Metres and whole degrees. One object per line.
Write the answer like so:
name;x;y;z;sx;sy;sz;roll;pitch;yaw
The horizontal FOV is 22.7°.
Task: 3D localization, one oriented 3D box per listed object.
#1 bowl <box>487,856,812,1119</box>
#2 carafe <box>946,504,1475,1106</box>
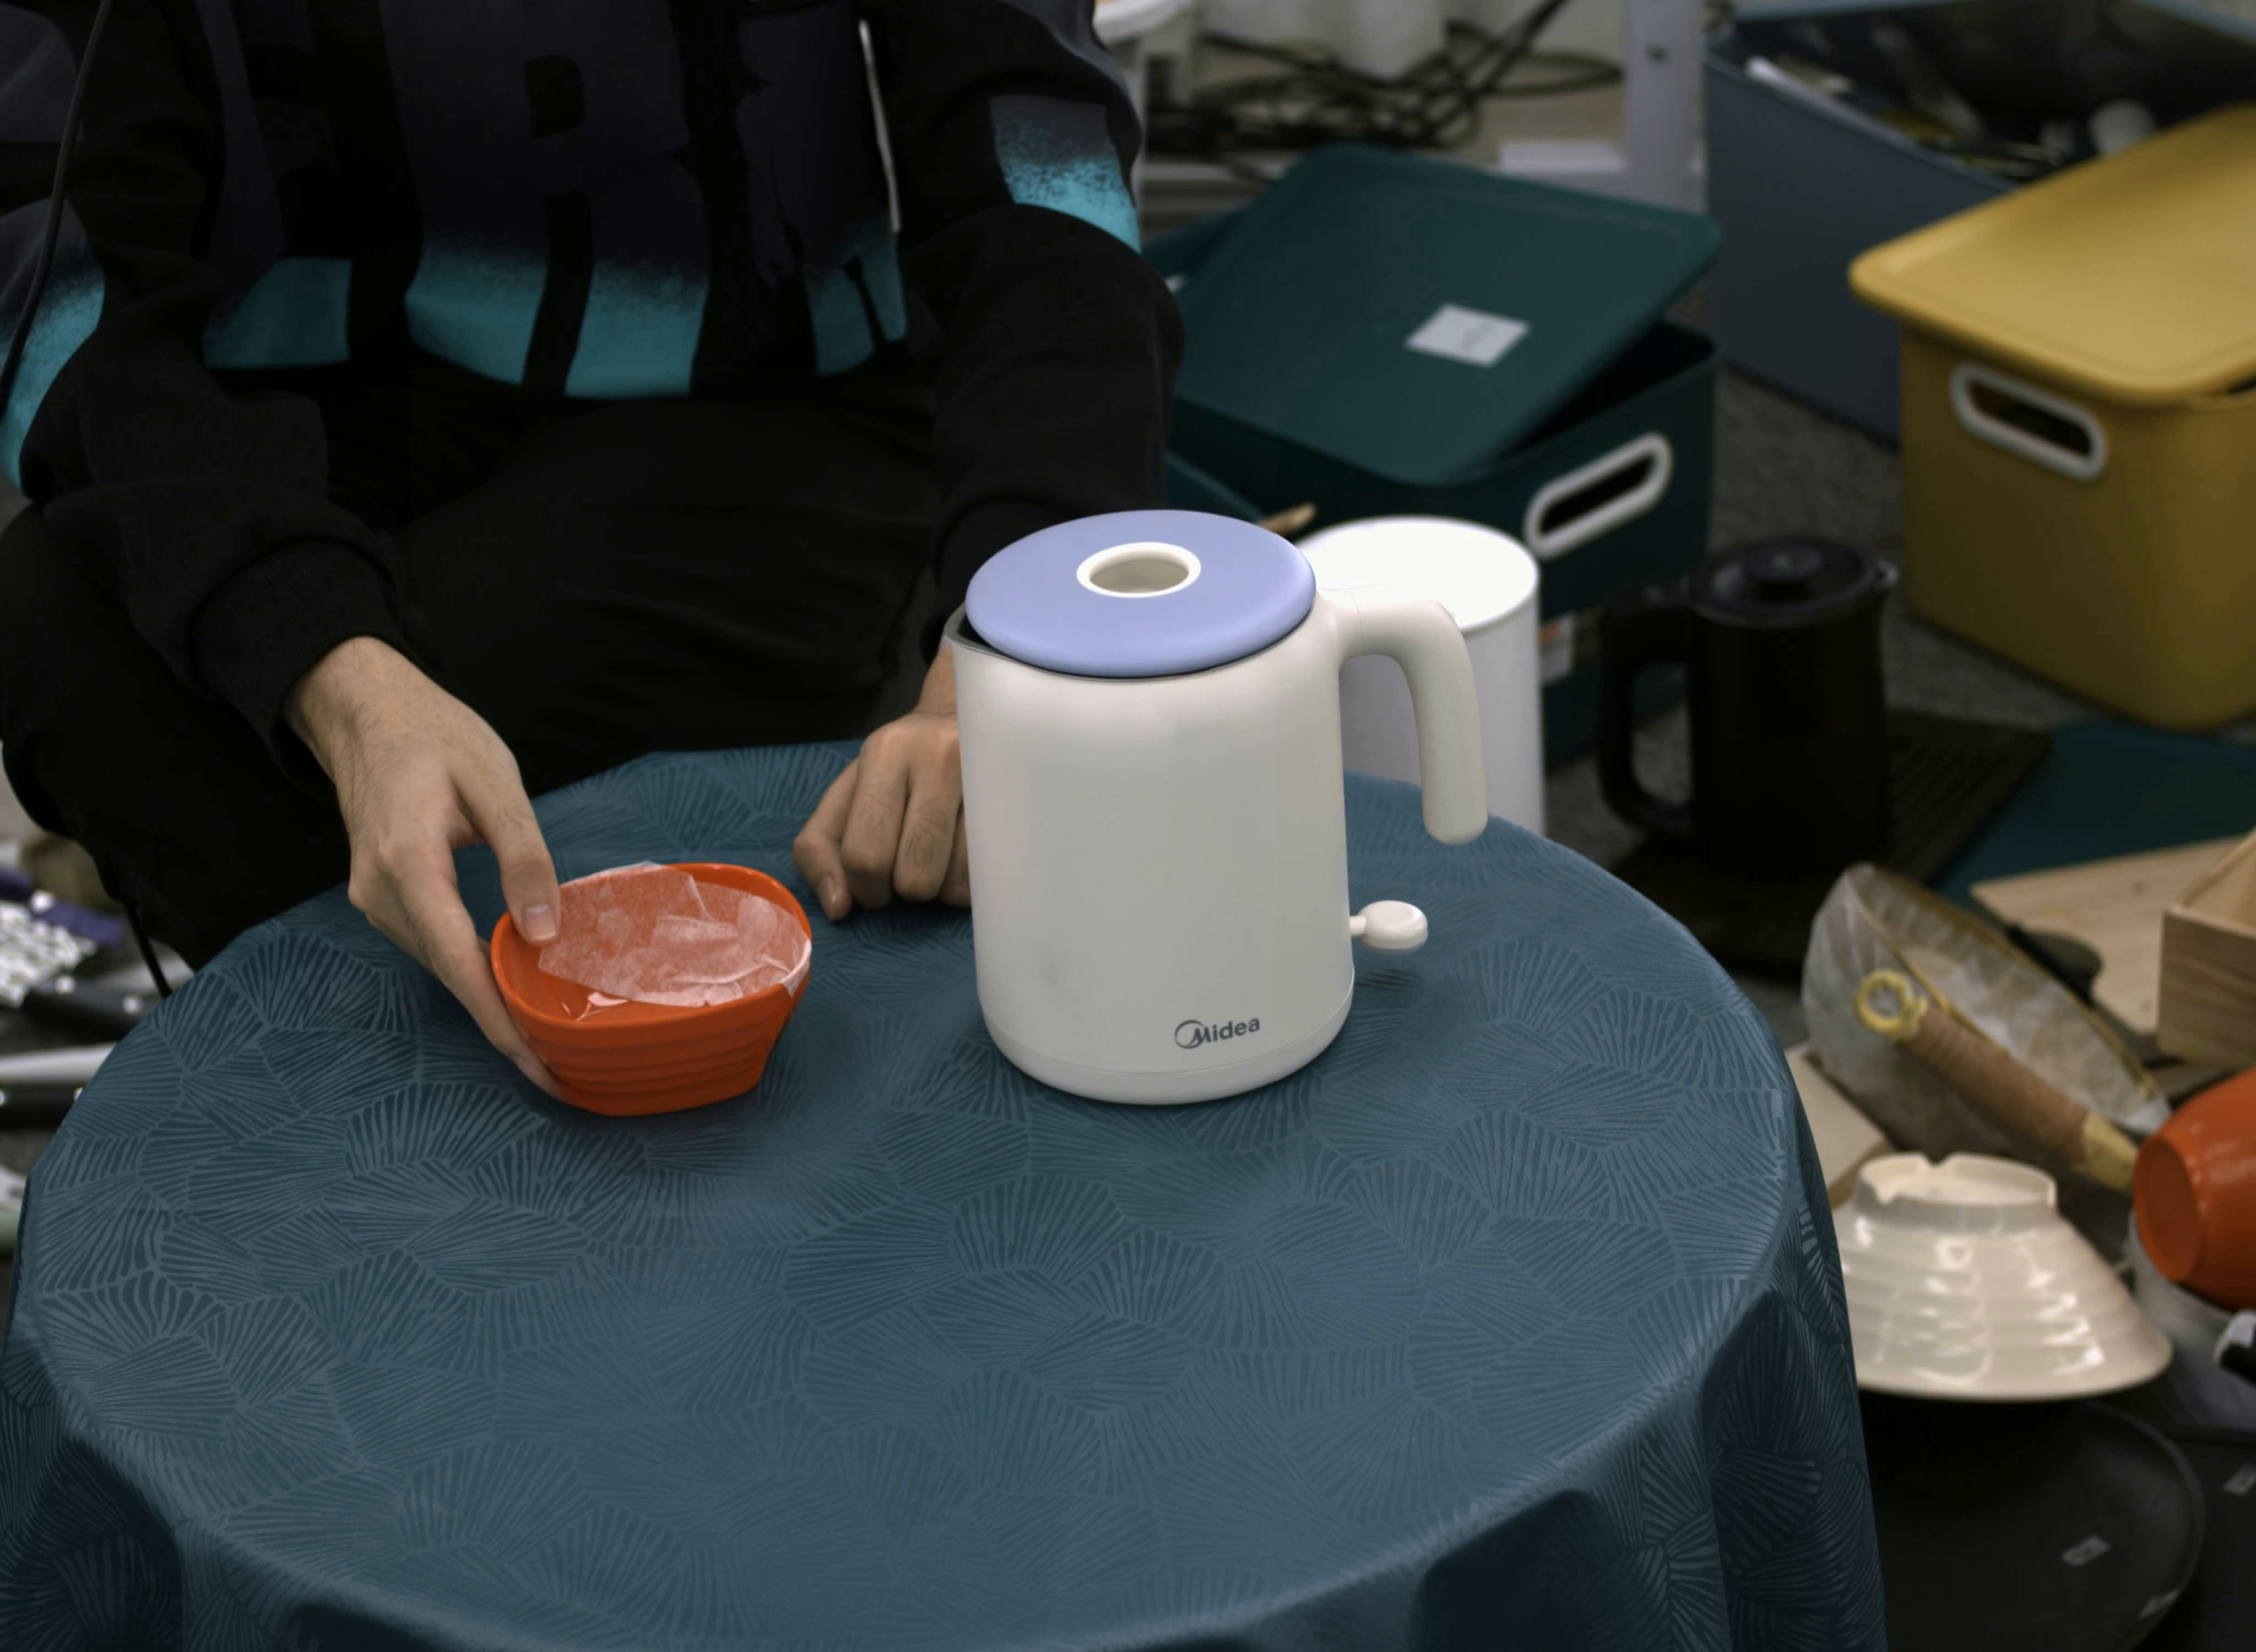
bowl;-0.163;0.060;1.937;0.118;0.051;0.121;-3;29;2
carafe;0.031;-0.011;1.931;0.191;0.180;0.133;-9;28;-16
